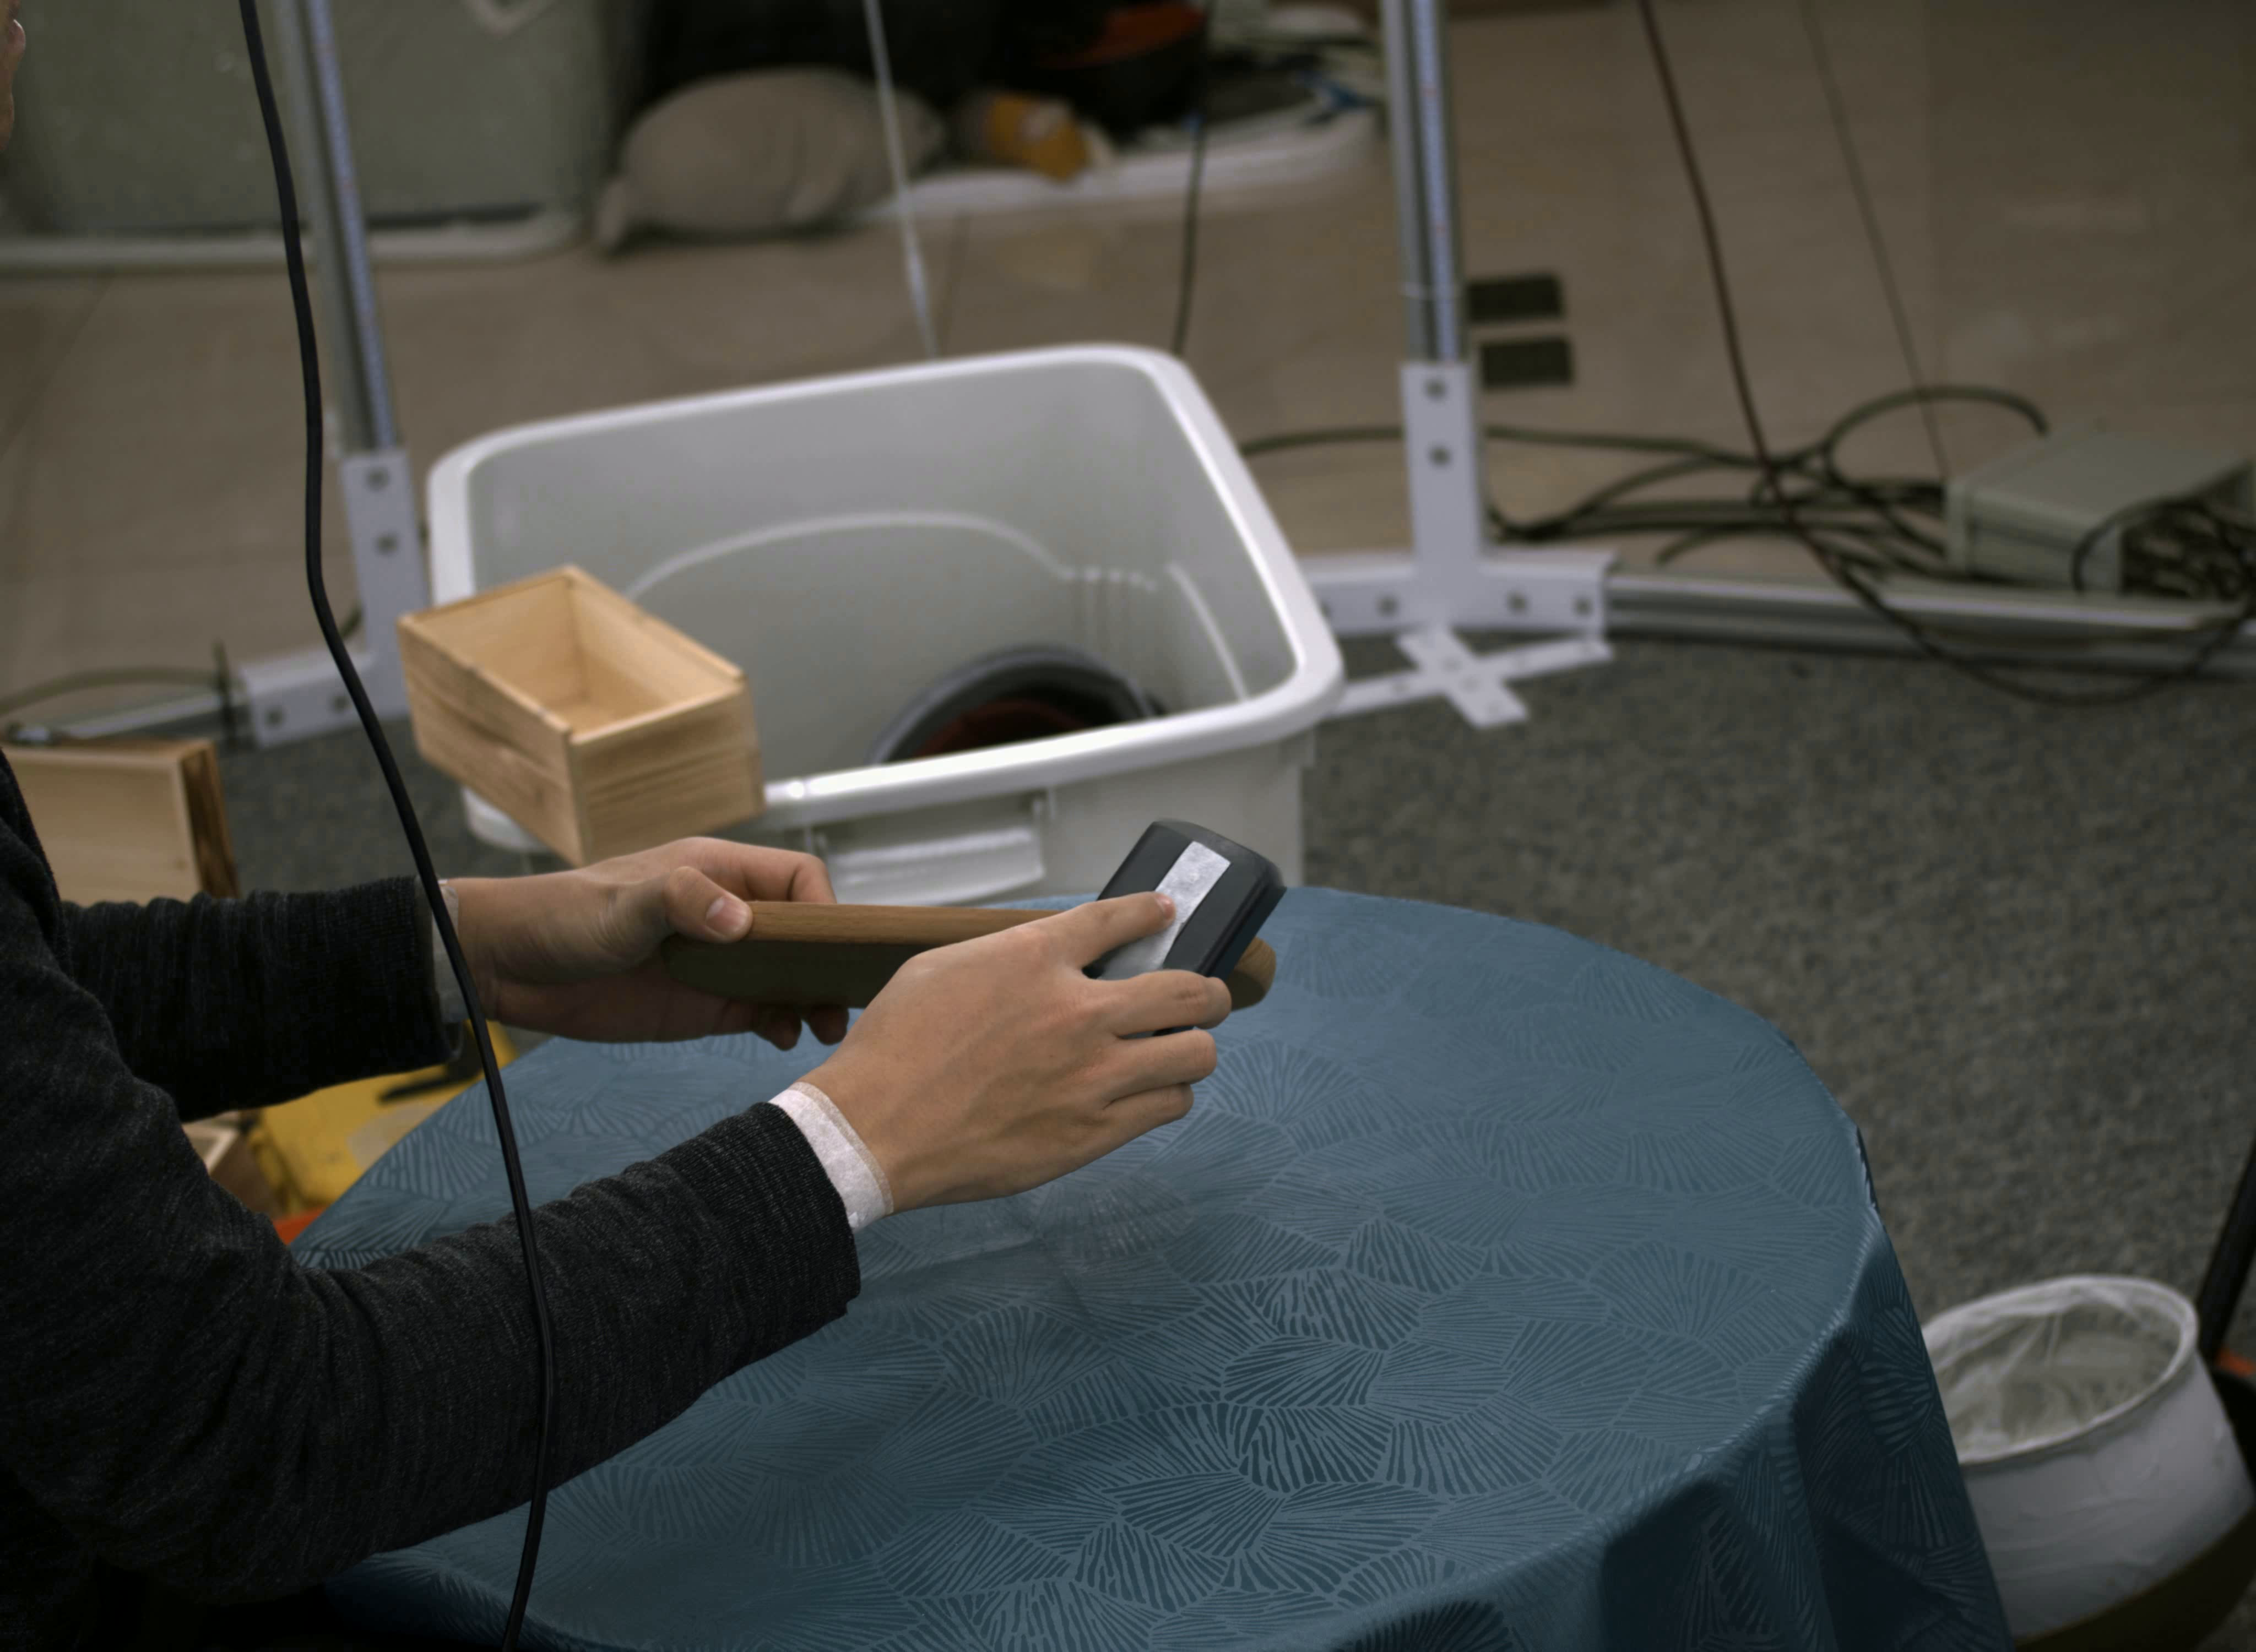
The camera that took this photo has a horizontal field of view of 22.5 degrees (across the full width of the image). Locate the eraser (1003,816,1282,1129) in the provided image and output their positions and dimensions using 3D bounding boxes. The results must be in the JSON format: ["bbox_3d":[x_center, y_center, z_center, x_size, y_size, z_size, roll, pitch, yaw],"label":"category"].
[{"bbox_3d":[0.005,0.050,2.022,0.053,0.031,0.123,24,50,13],"label":"eraser"}]

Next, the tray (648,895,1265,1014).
[{"bbox_3d":[-0.064,0.050,2.111,0.231,0.103,0.020,0,70,5],"label":"tray"}]
